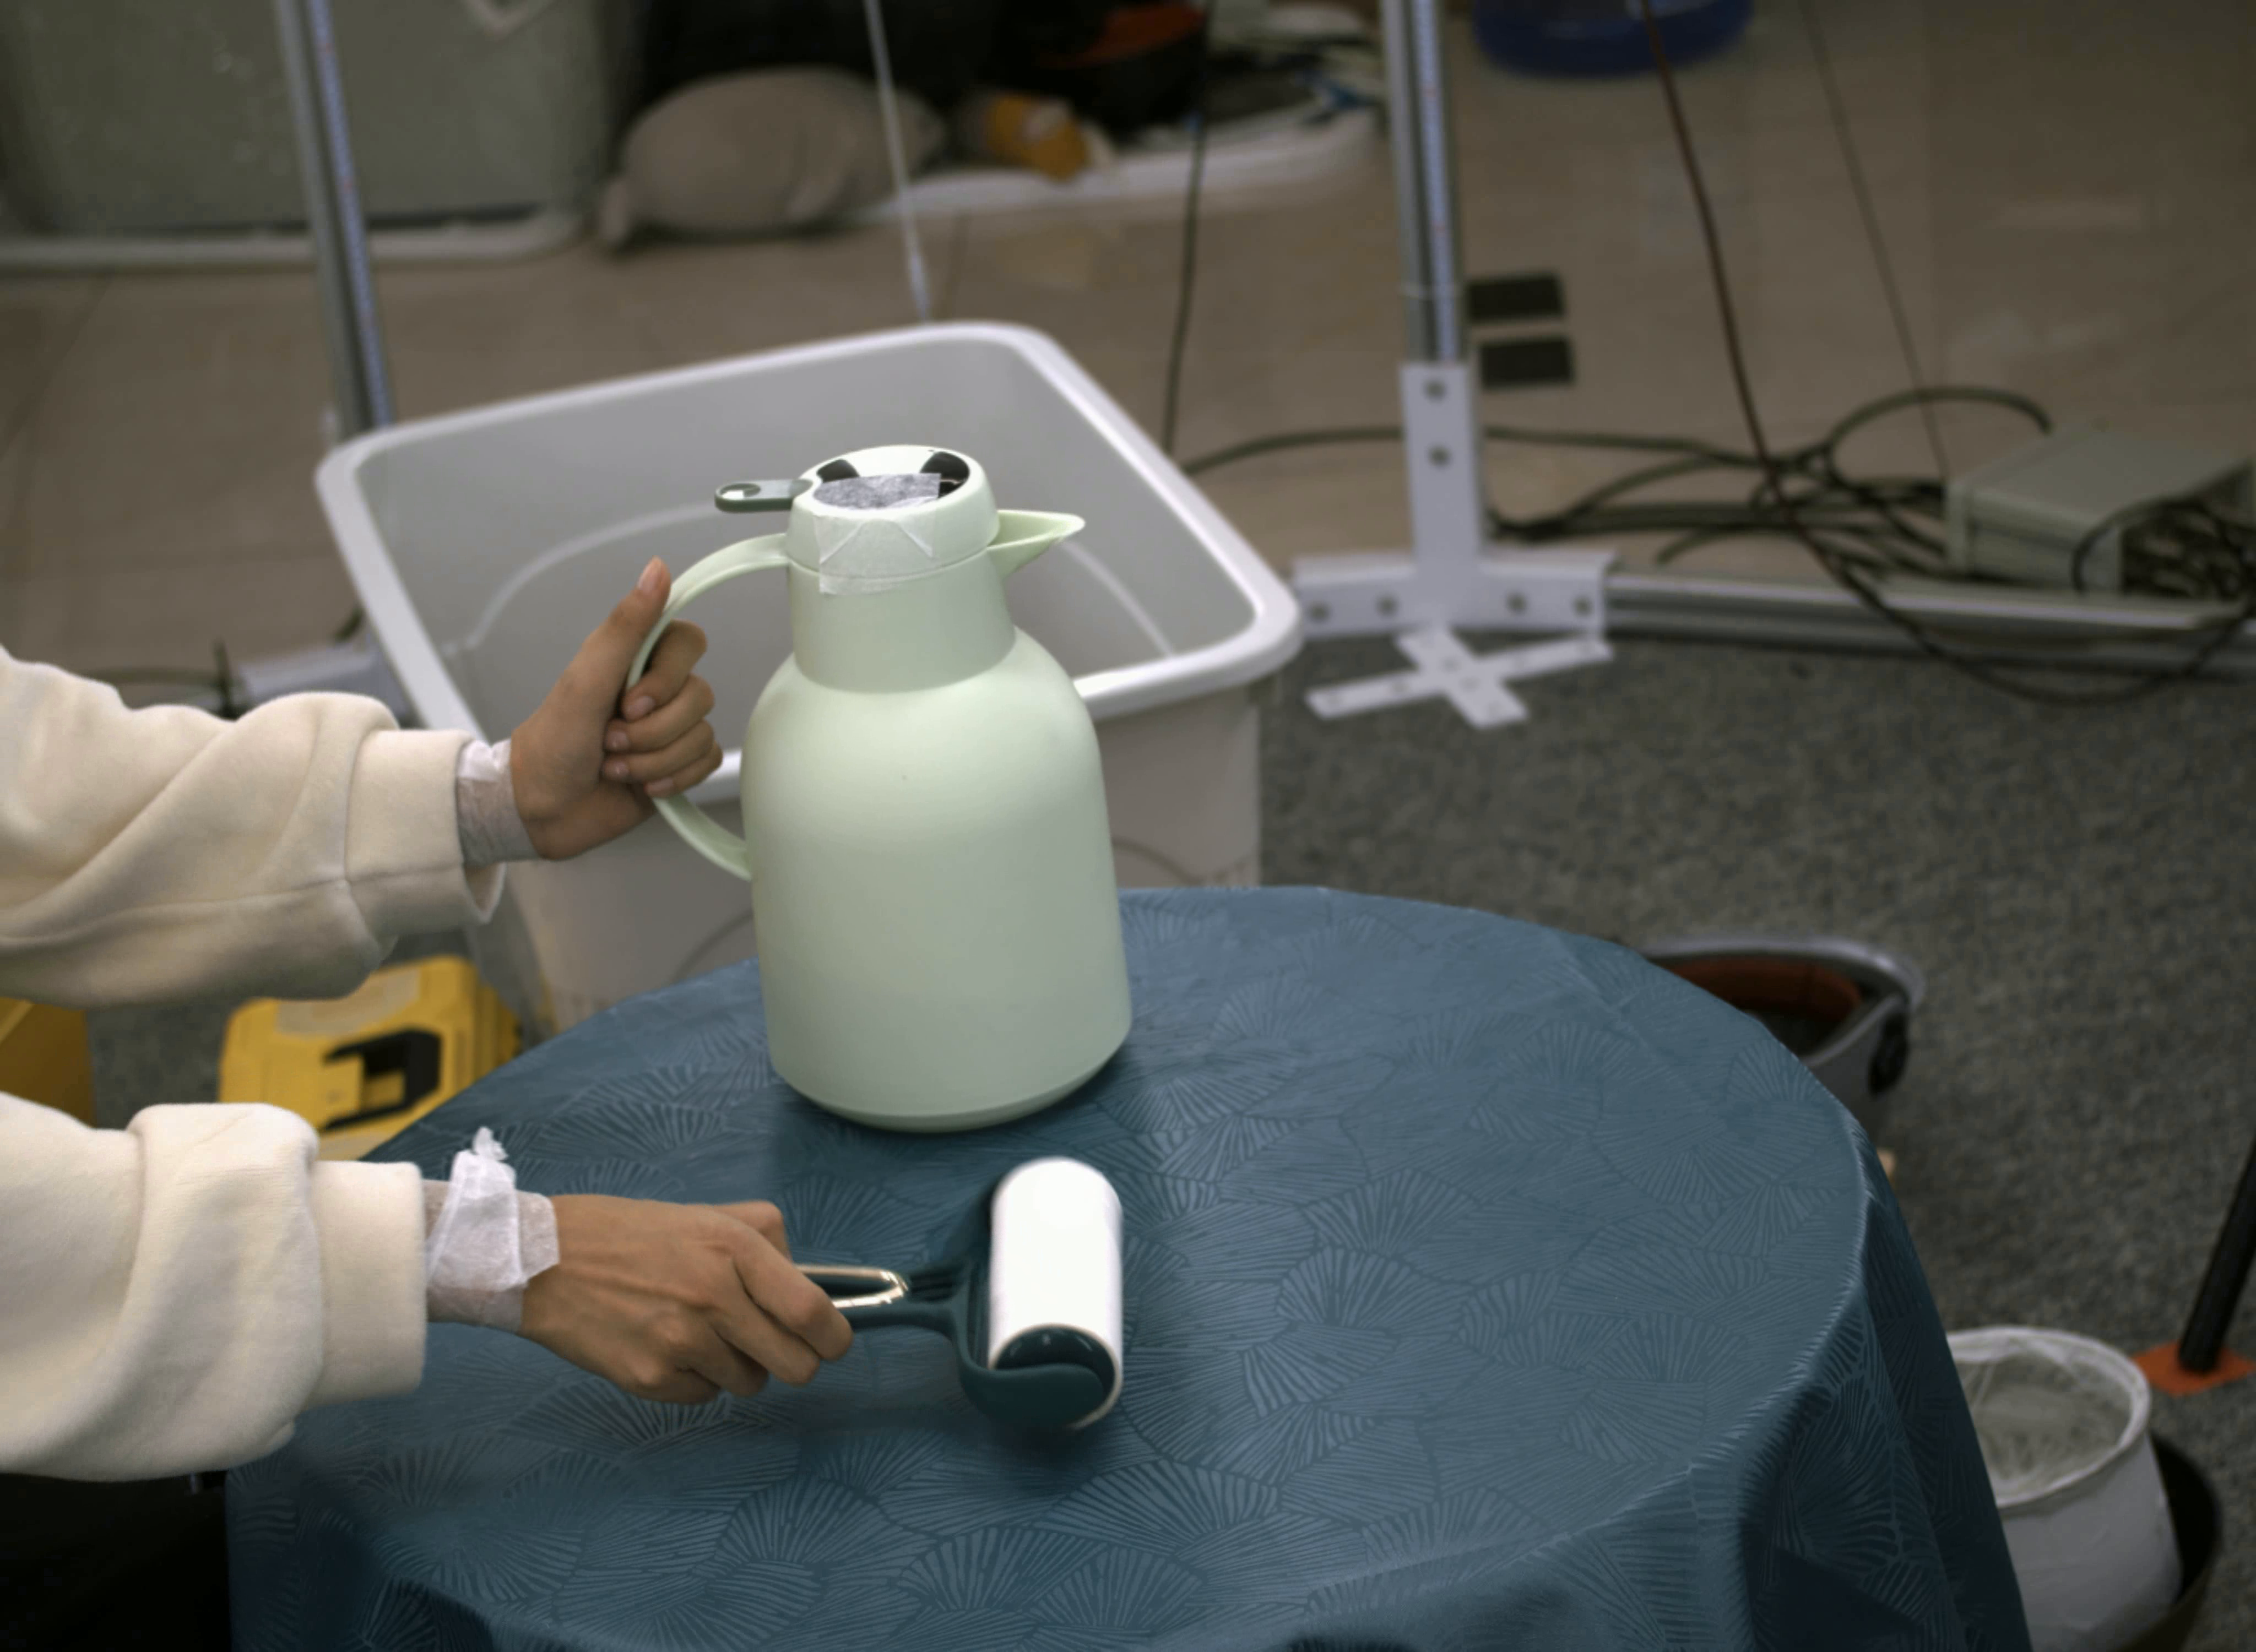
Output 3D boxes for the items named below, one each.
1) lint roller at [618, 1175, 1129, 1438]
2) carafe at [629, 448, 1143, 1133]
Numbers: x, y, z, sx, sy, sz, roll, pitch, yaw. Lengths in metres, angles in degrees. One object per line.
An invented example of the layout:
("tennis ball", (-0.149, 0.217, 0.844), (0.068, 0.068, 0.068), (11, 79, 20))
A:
("lint roller", (-0.090, 0.164, 2.010), (0.180, 0.049, 0.132), (6, 29, -2))
("carafe", (-0.093, -0.017, 2.206), (0.186, 0.261, 0.142), (-8, 27, 4))
